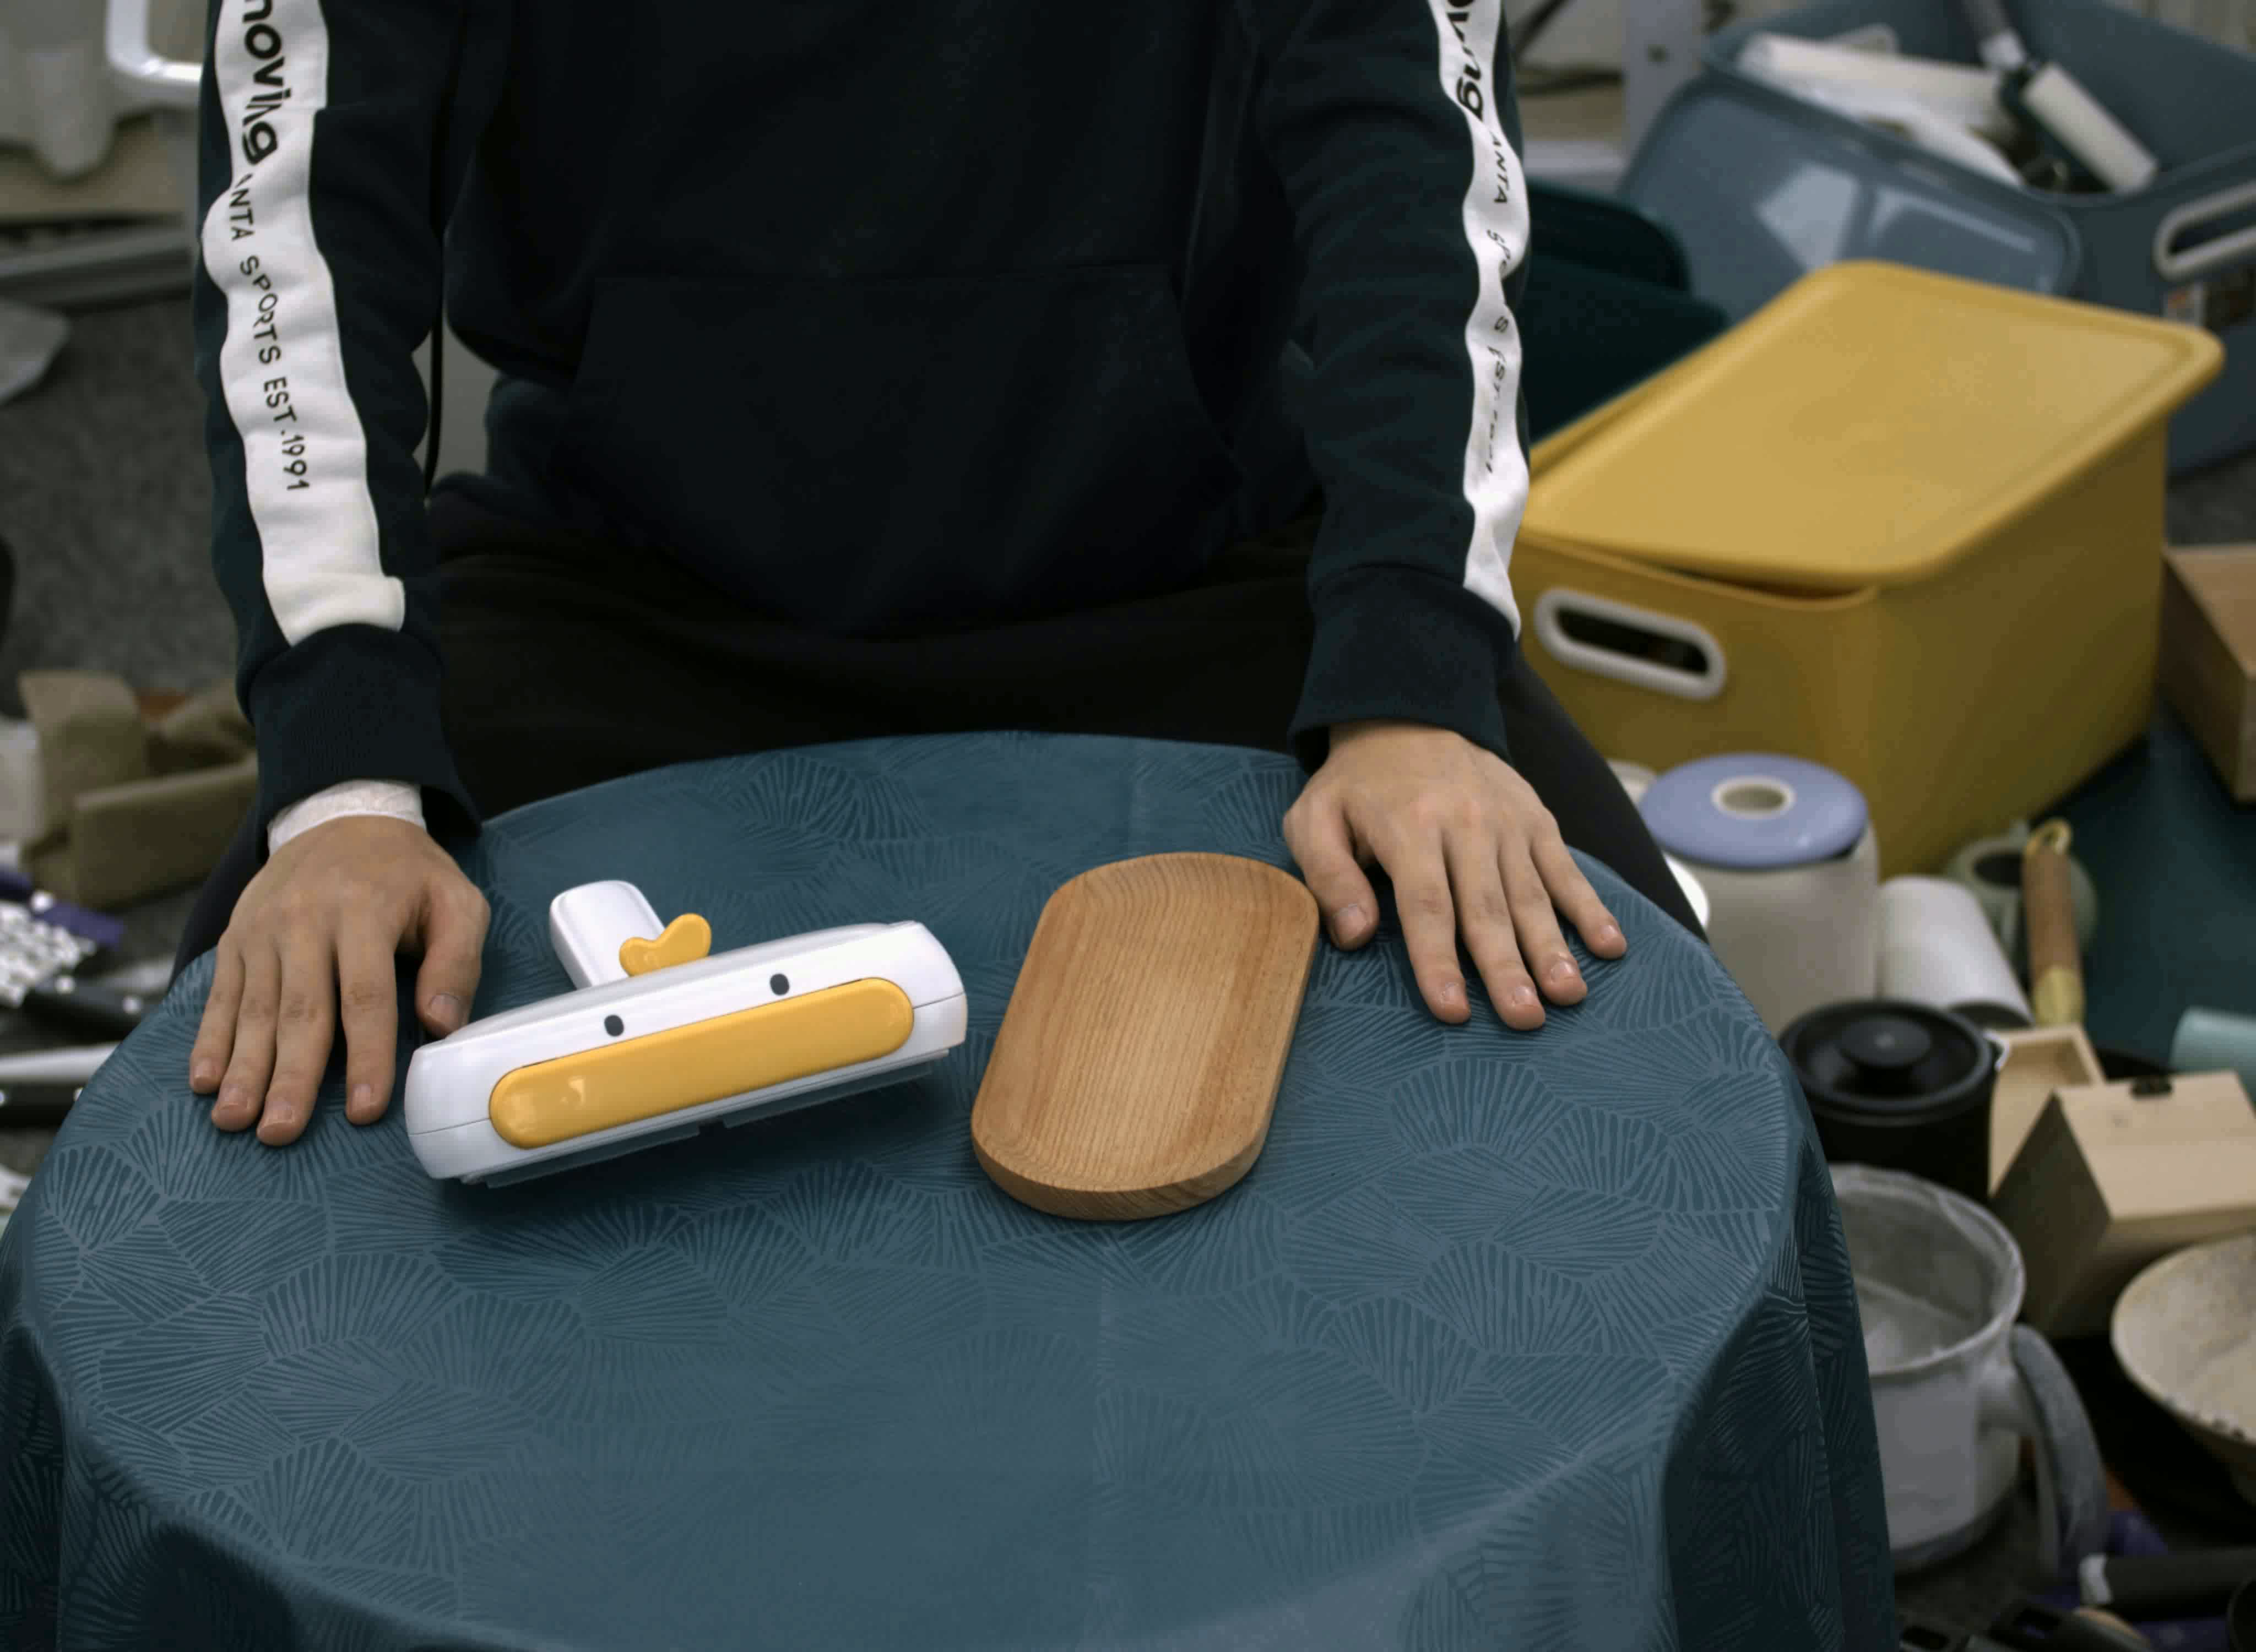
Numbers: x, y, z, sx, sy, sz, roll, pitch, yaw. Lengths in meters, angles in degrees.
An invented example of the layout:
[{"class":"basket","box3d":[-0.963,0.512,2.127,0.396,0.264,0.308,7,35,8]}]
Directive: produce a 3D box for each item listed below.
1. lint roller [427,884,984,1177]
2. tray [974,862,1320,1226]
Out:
[{"class":"lint roller","box3d":[-0.163,0.060,1.942,0.193,0.074,0.192,-19,12,-17]},{"class":"tray","box3d":[0.009,0.073,1.935,0.101,0.020,0.235,1,29,9]}]
